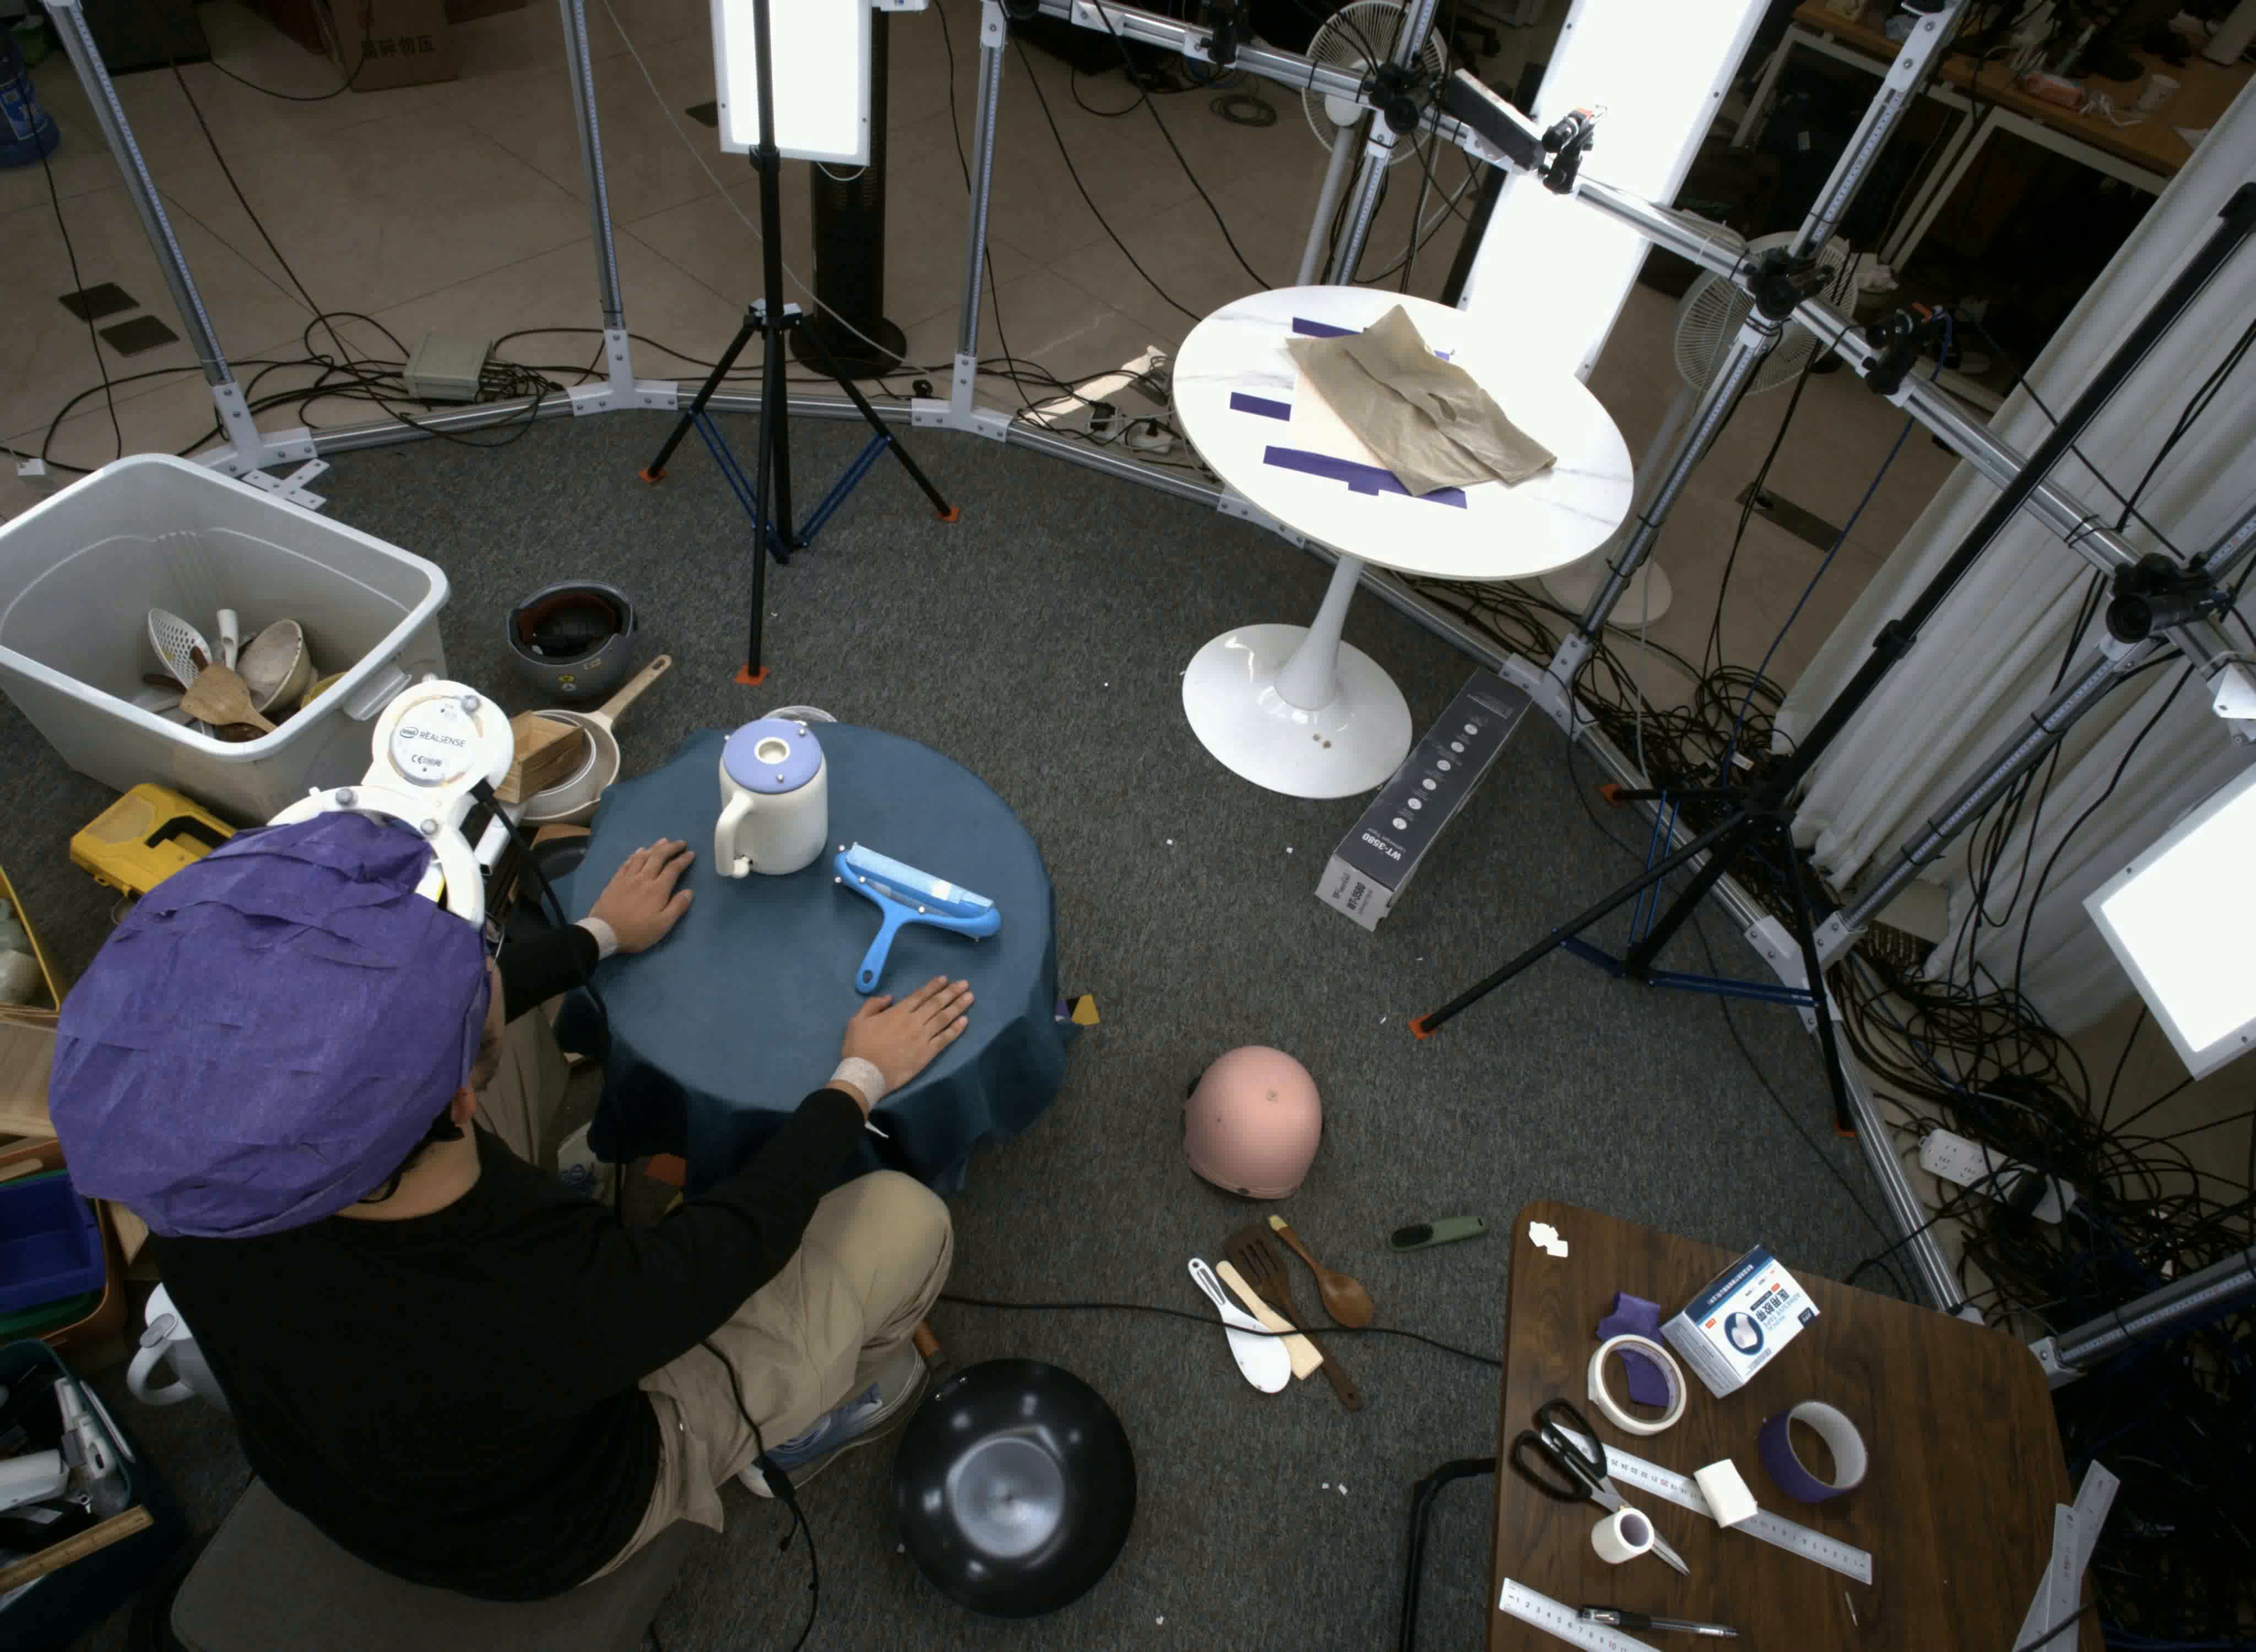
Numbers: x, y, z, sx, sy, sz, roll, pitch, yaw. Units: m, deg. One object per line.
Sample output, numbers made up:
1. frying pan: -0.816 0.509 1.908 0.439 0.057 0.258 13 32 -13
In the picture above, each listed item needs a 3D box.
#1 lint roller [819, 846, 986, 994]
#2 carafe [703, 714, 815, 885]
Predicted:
1. lint roller: -0.303 0.123 1.621 0.227 0.069 0.178 22 46 -1
2. carafe: -0.472 -0.021 1.610 0.130 0.186 0.190 22 53 6
